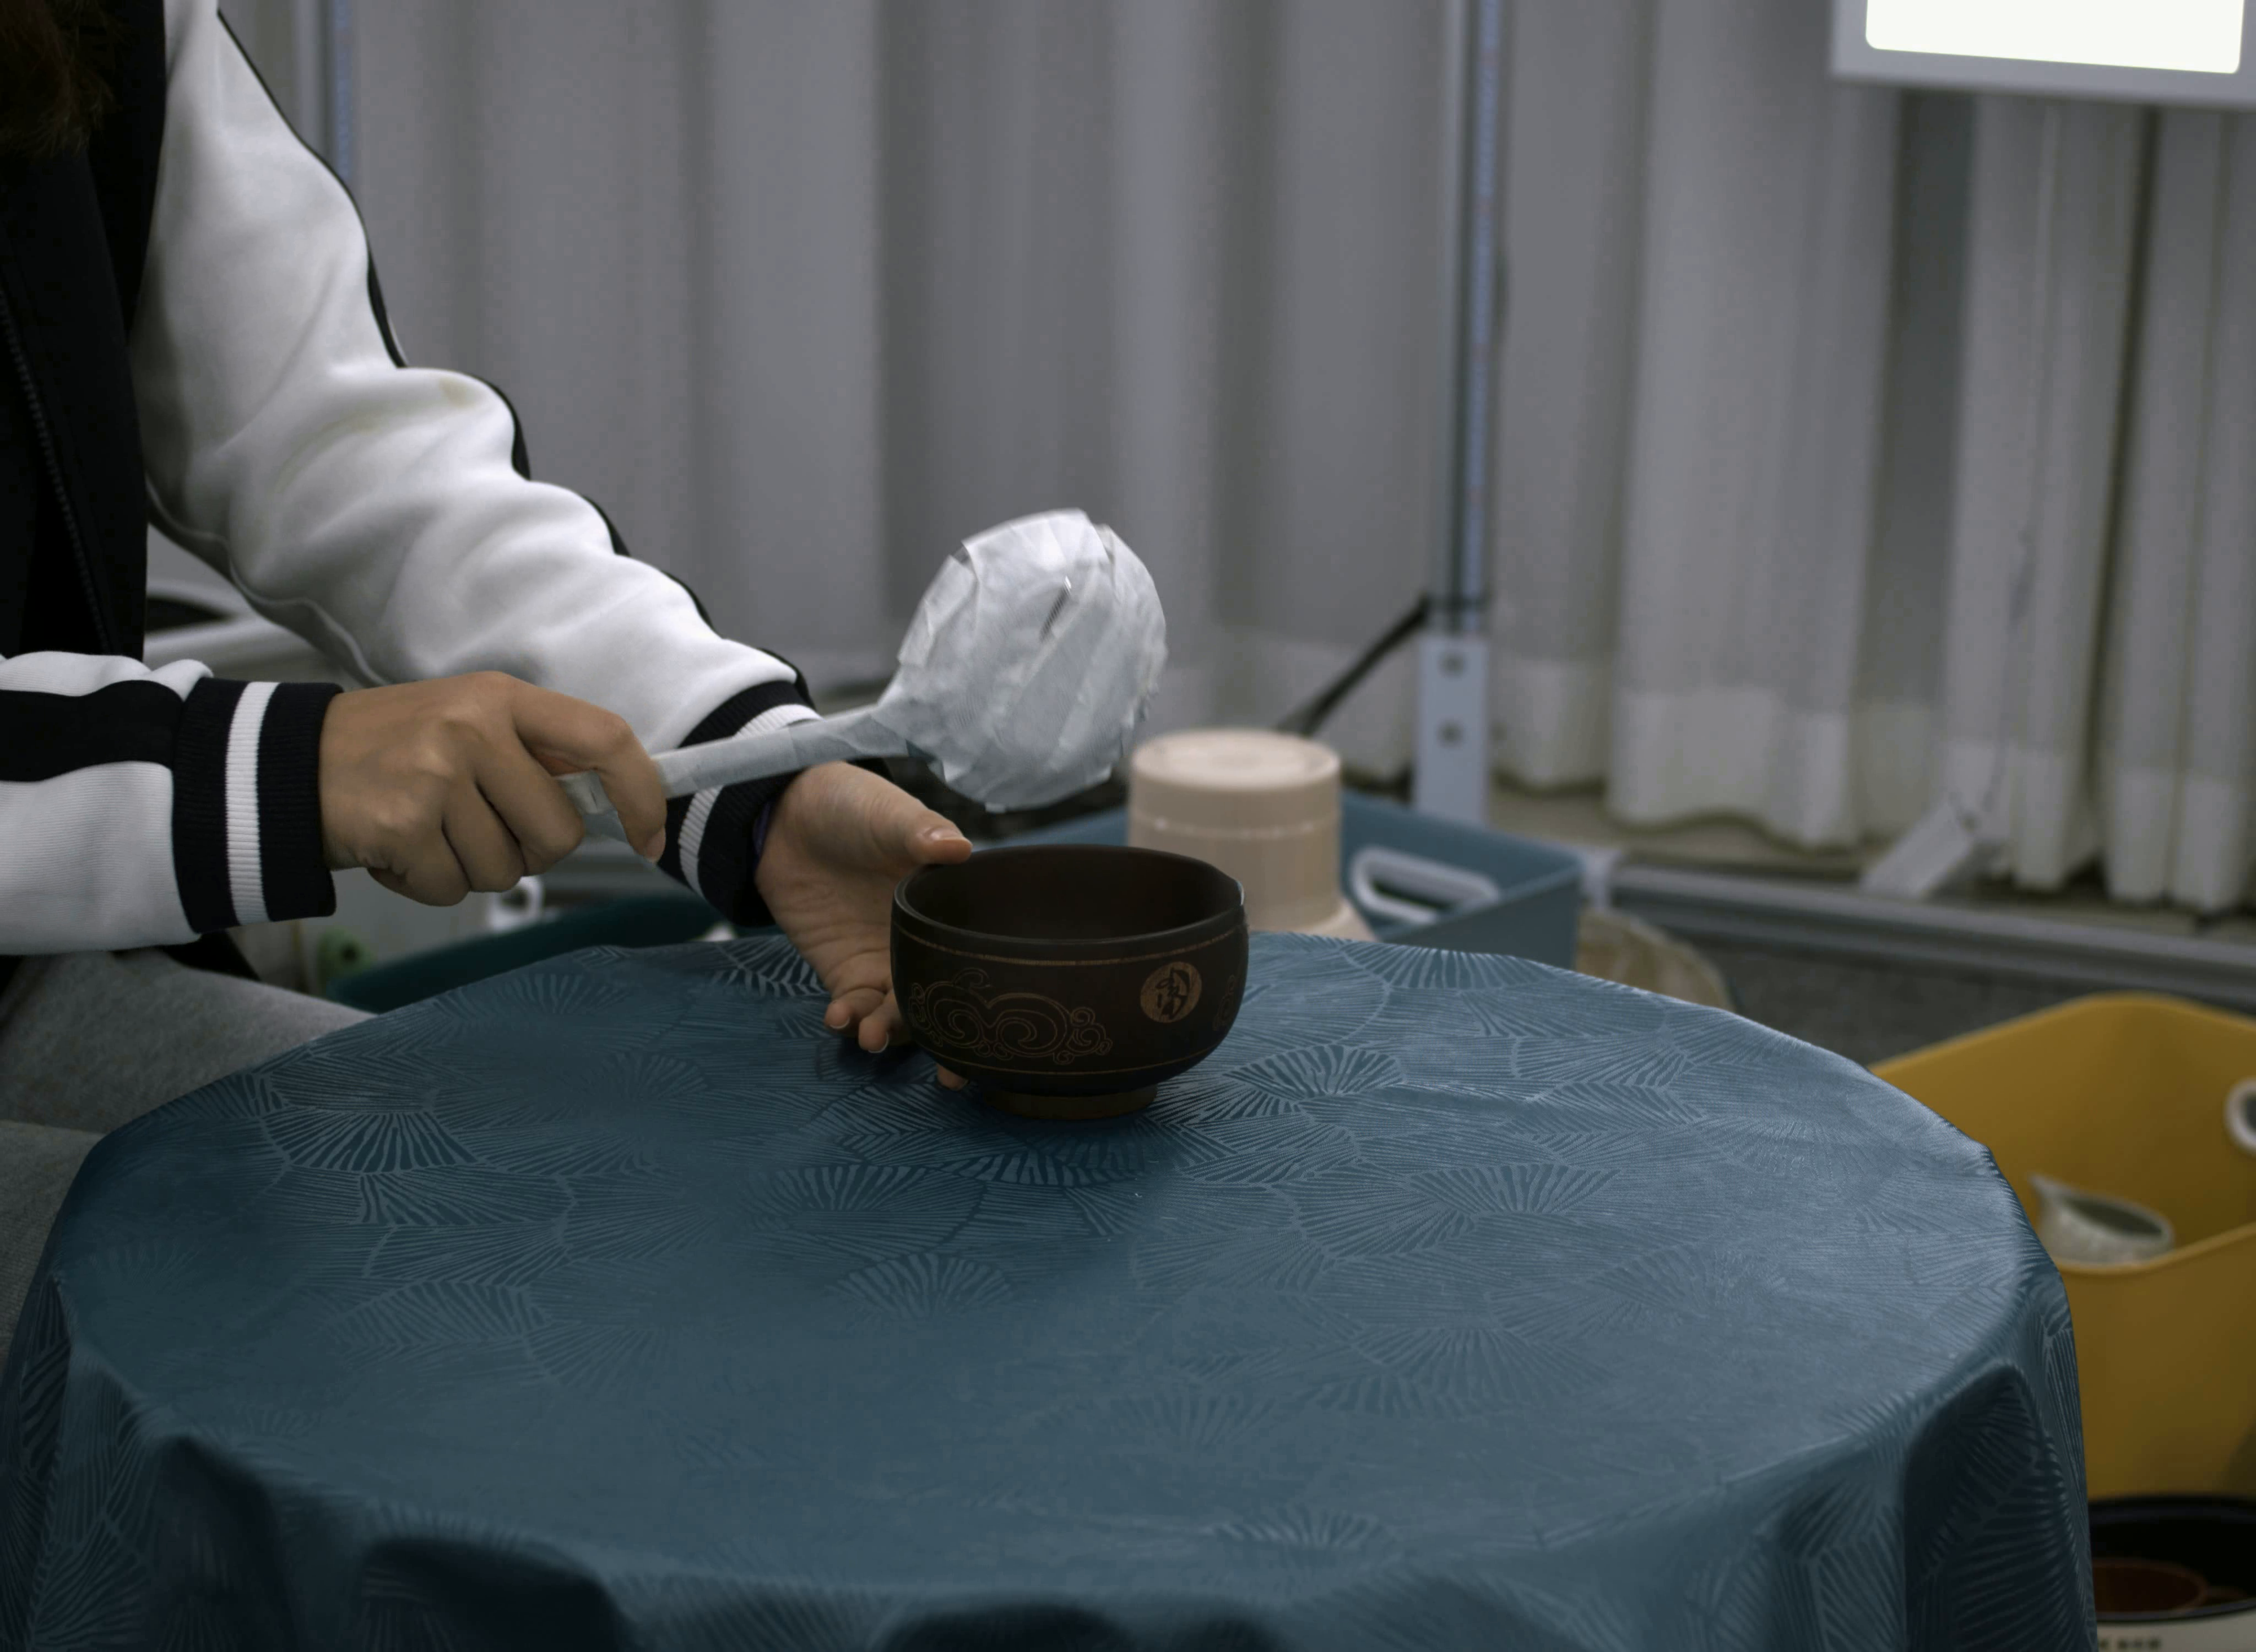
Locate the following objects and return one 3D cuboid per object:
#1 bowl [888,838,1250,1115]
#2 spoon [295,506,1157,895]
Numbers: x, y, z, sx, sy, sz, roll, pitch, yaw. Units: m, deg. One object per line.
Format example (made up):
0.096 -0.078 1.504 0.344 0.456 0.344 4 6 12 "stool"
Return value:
-0.019 0.052 1.701 0.117 0.070 0.117 1 15 0 "bowl"
-0.125 -0.024 1.642 0.276 0.102 0.059 -15 21 10 "spoon"
